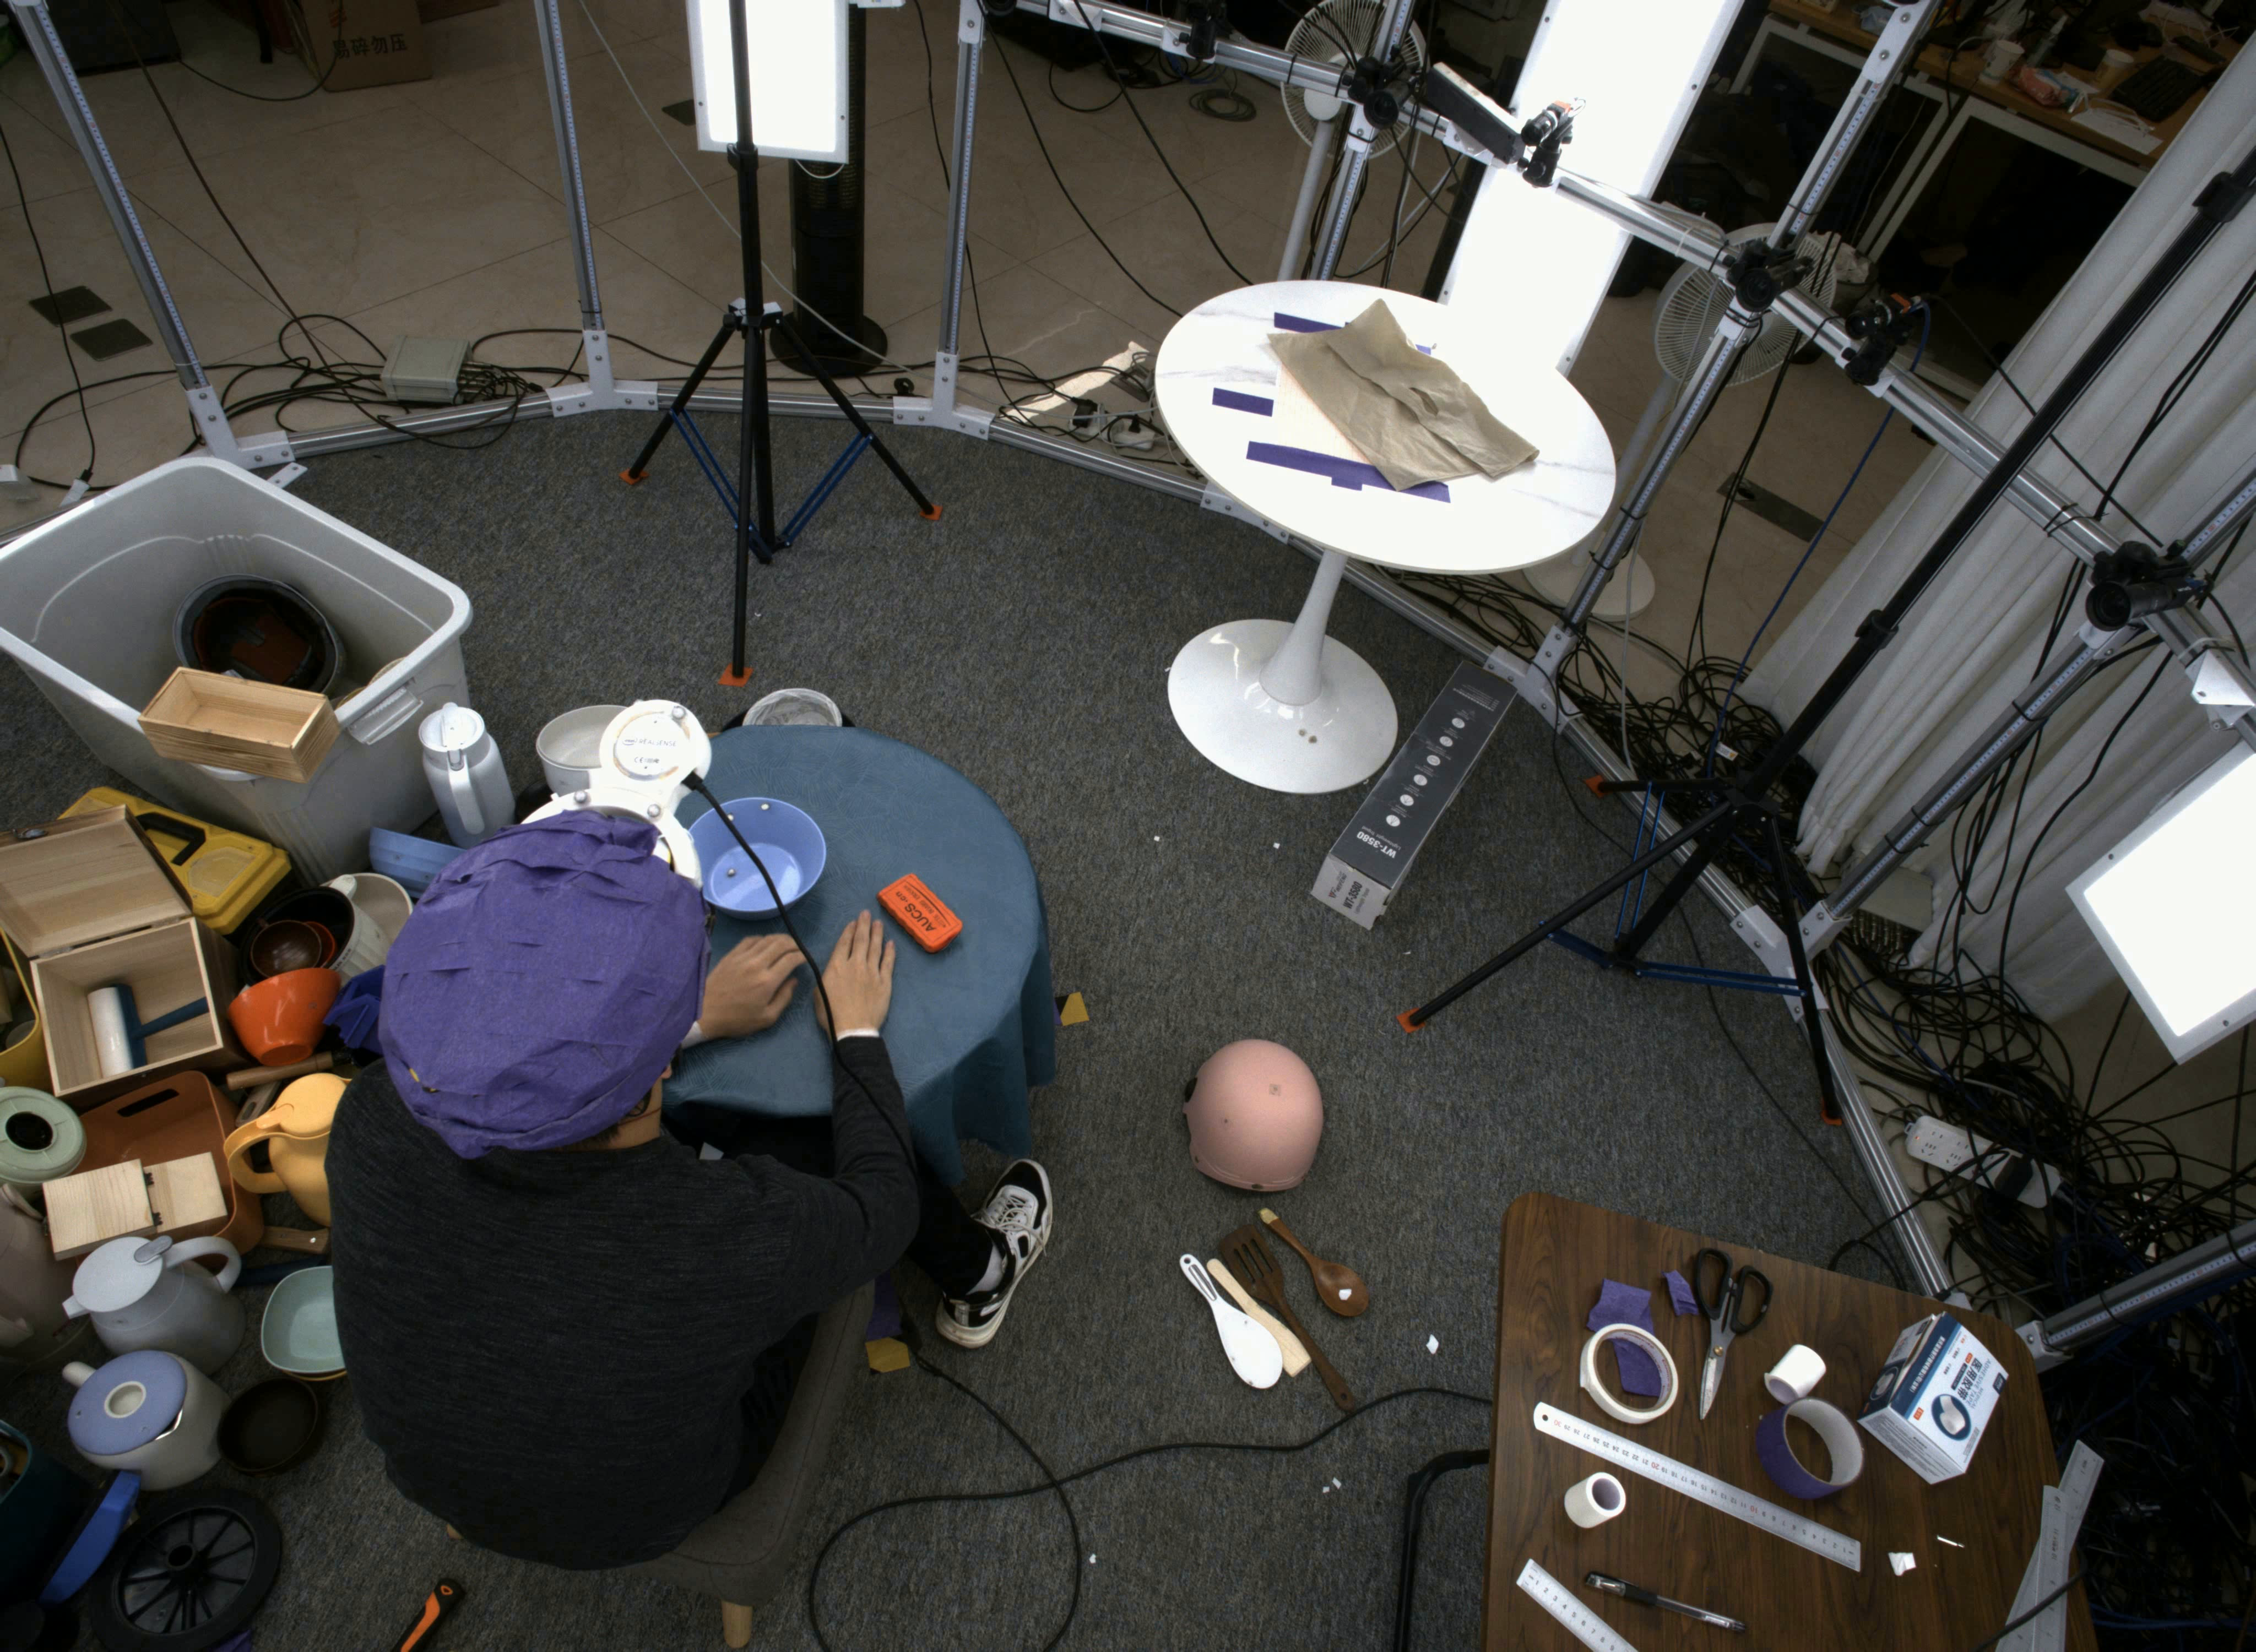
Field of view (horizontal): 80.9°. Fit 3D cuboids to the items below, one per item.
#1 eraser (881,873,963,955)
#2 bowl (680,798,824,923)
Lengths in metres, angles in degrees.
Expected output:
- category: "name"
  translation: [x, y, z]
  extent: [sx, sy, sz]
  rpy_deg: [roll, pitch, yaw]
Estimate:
- category: "eraser"
  translation: [-0.264, 0.110, 1.664]
  extent: [0.106, 0.023, 0.059]
  rpy_deg: [43, 54, 17]
- category: "bowl"
  translation: [-0.469, 0.053, 1.623]
  extent: [0.176, 0.071, 0.173]
  rpy_deg: [8, 52, -9]
